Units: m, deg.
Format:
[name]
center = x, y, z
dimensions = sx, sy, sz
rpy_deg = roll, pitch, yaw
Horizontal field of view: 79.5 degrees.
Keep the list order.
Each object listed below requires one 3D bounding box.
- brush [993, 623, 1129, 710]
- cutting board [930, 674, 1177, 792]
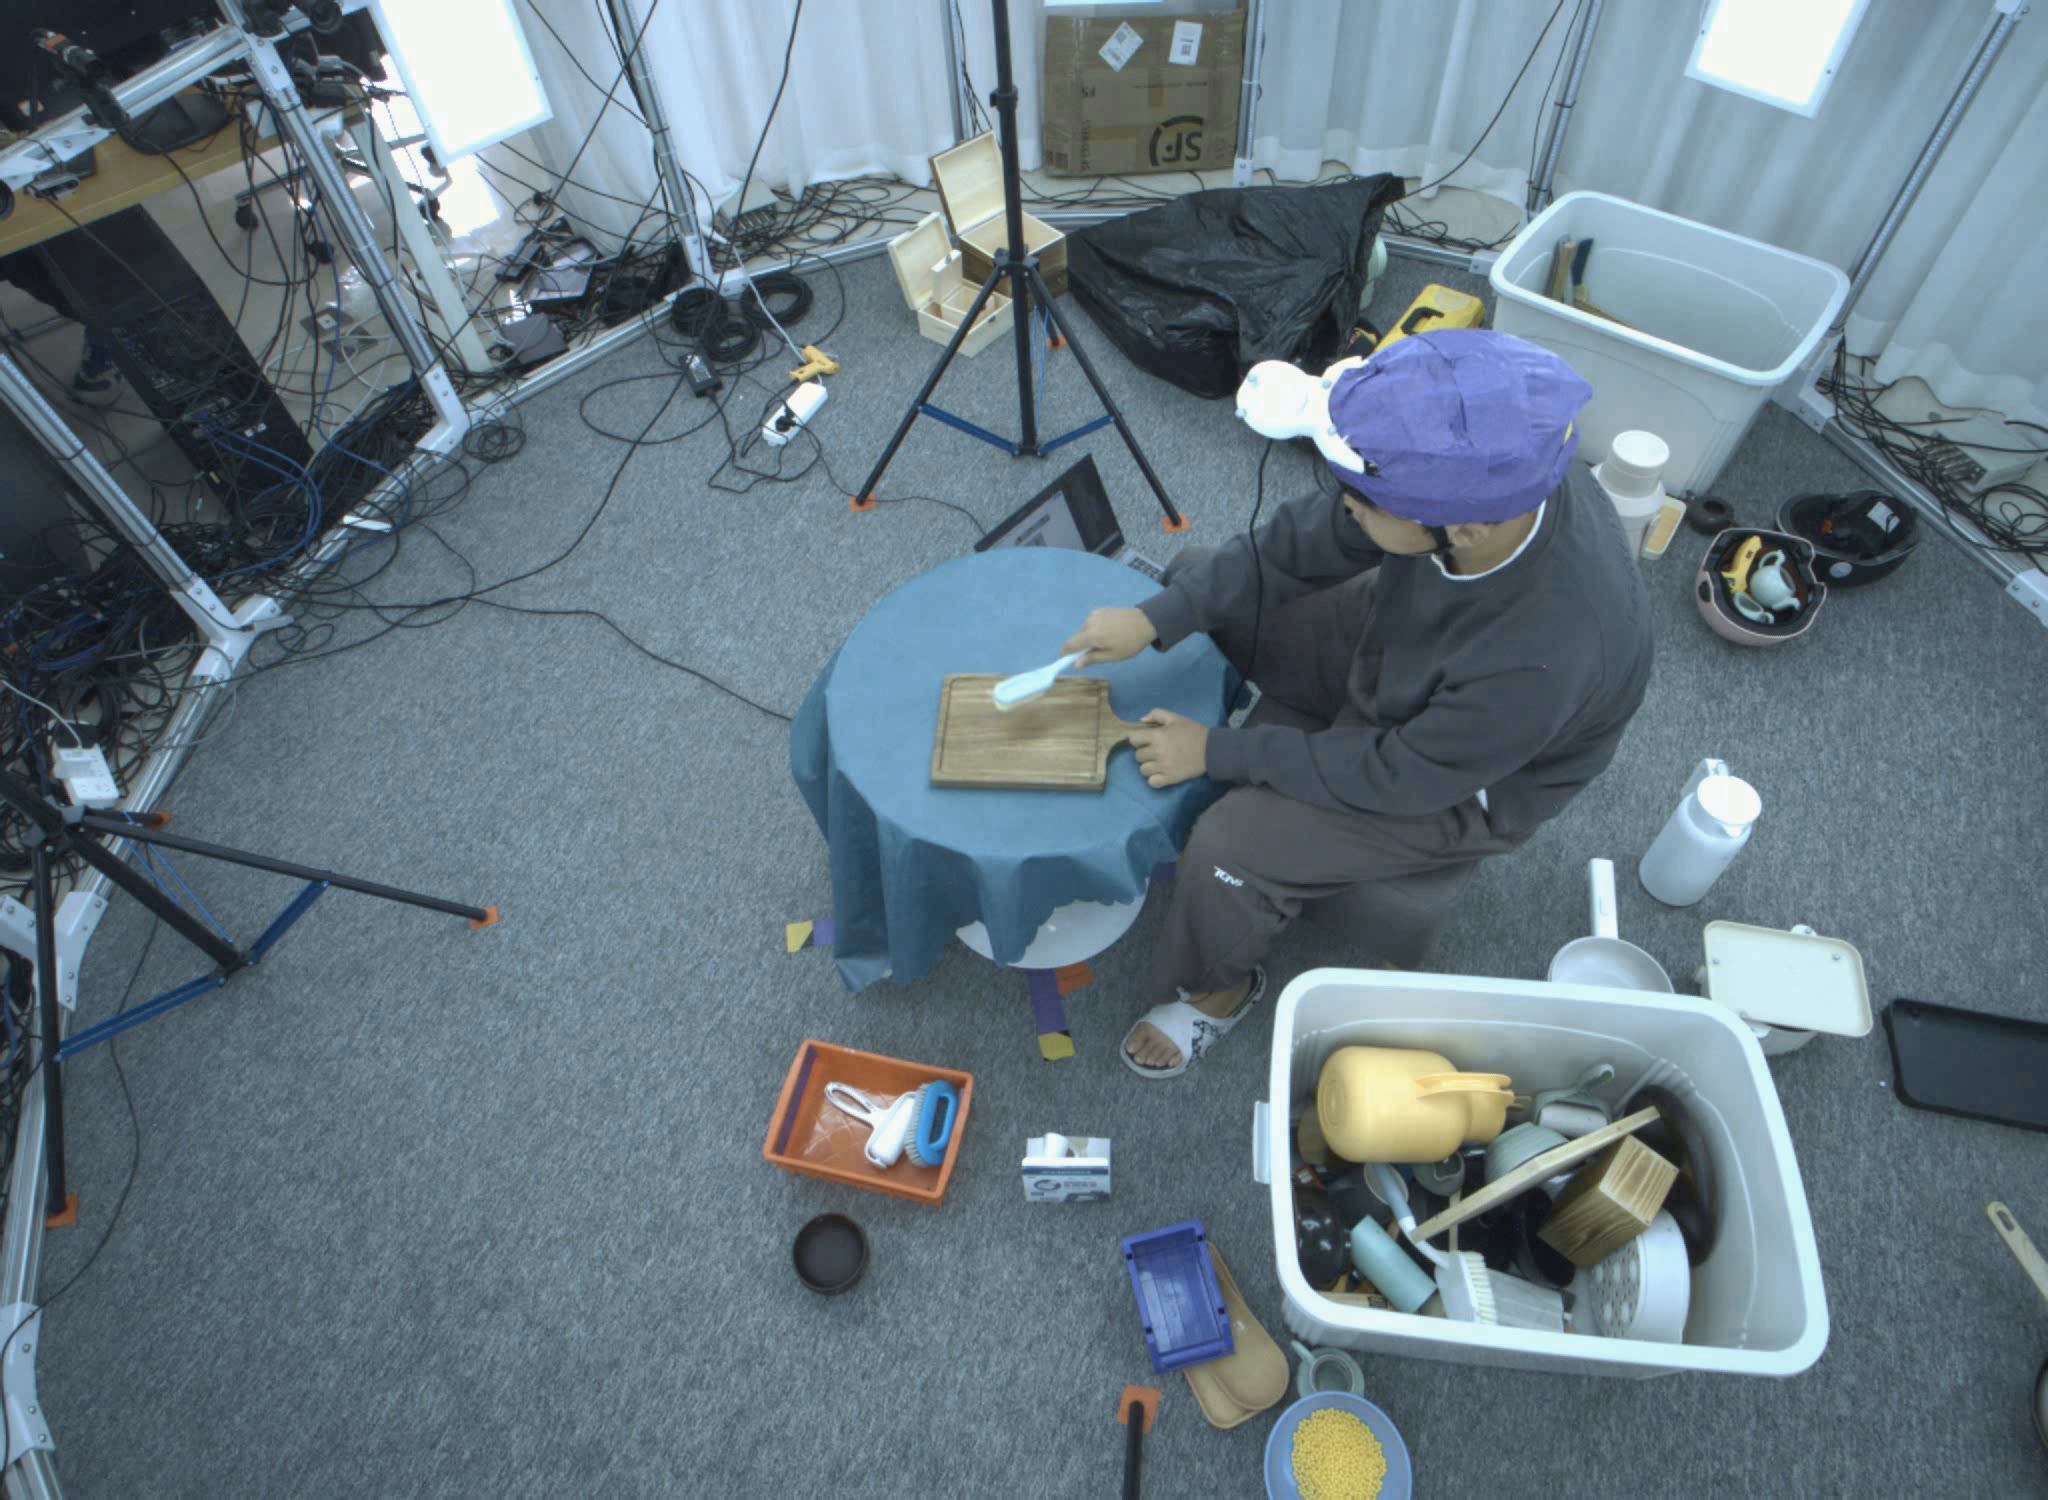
[brush]
center = 0.054, -0.124, 1.783
dimensions = 0.230, 0.050, 0.037
rpy_deg = -32, 67, -15
[cutting board]
center = 0.046, -0.026, 1.793
dimensions = 0.351, 0.023, 0.199
rpy_deg = 2, 55, 3
